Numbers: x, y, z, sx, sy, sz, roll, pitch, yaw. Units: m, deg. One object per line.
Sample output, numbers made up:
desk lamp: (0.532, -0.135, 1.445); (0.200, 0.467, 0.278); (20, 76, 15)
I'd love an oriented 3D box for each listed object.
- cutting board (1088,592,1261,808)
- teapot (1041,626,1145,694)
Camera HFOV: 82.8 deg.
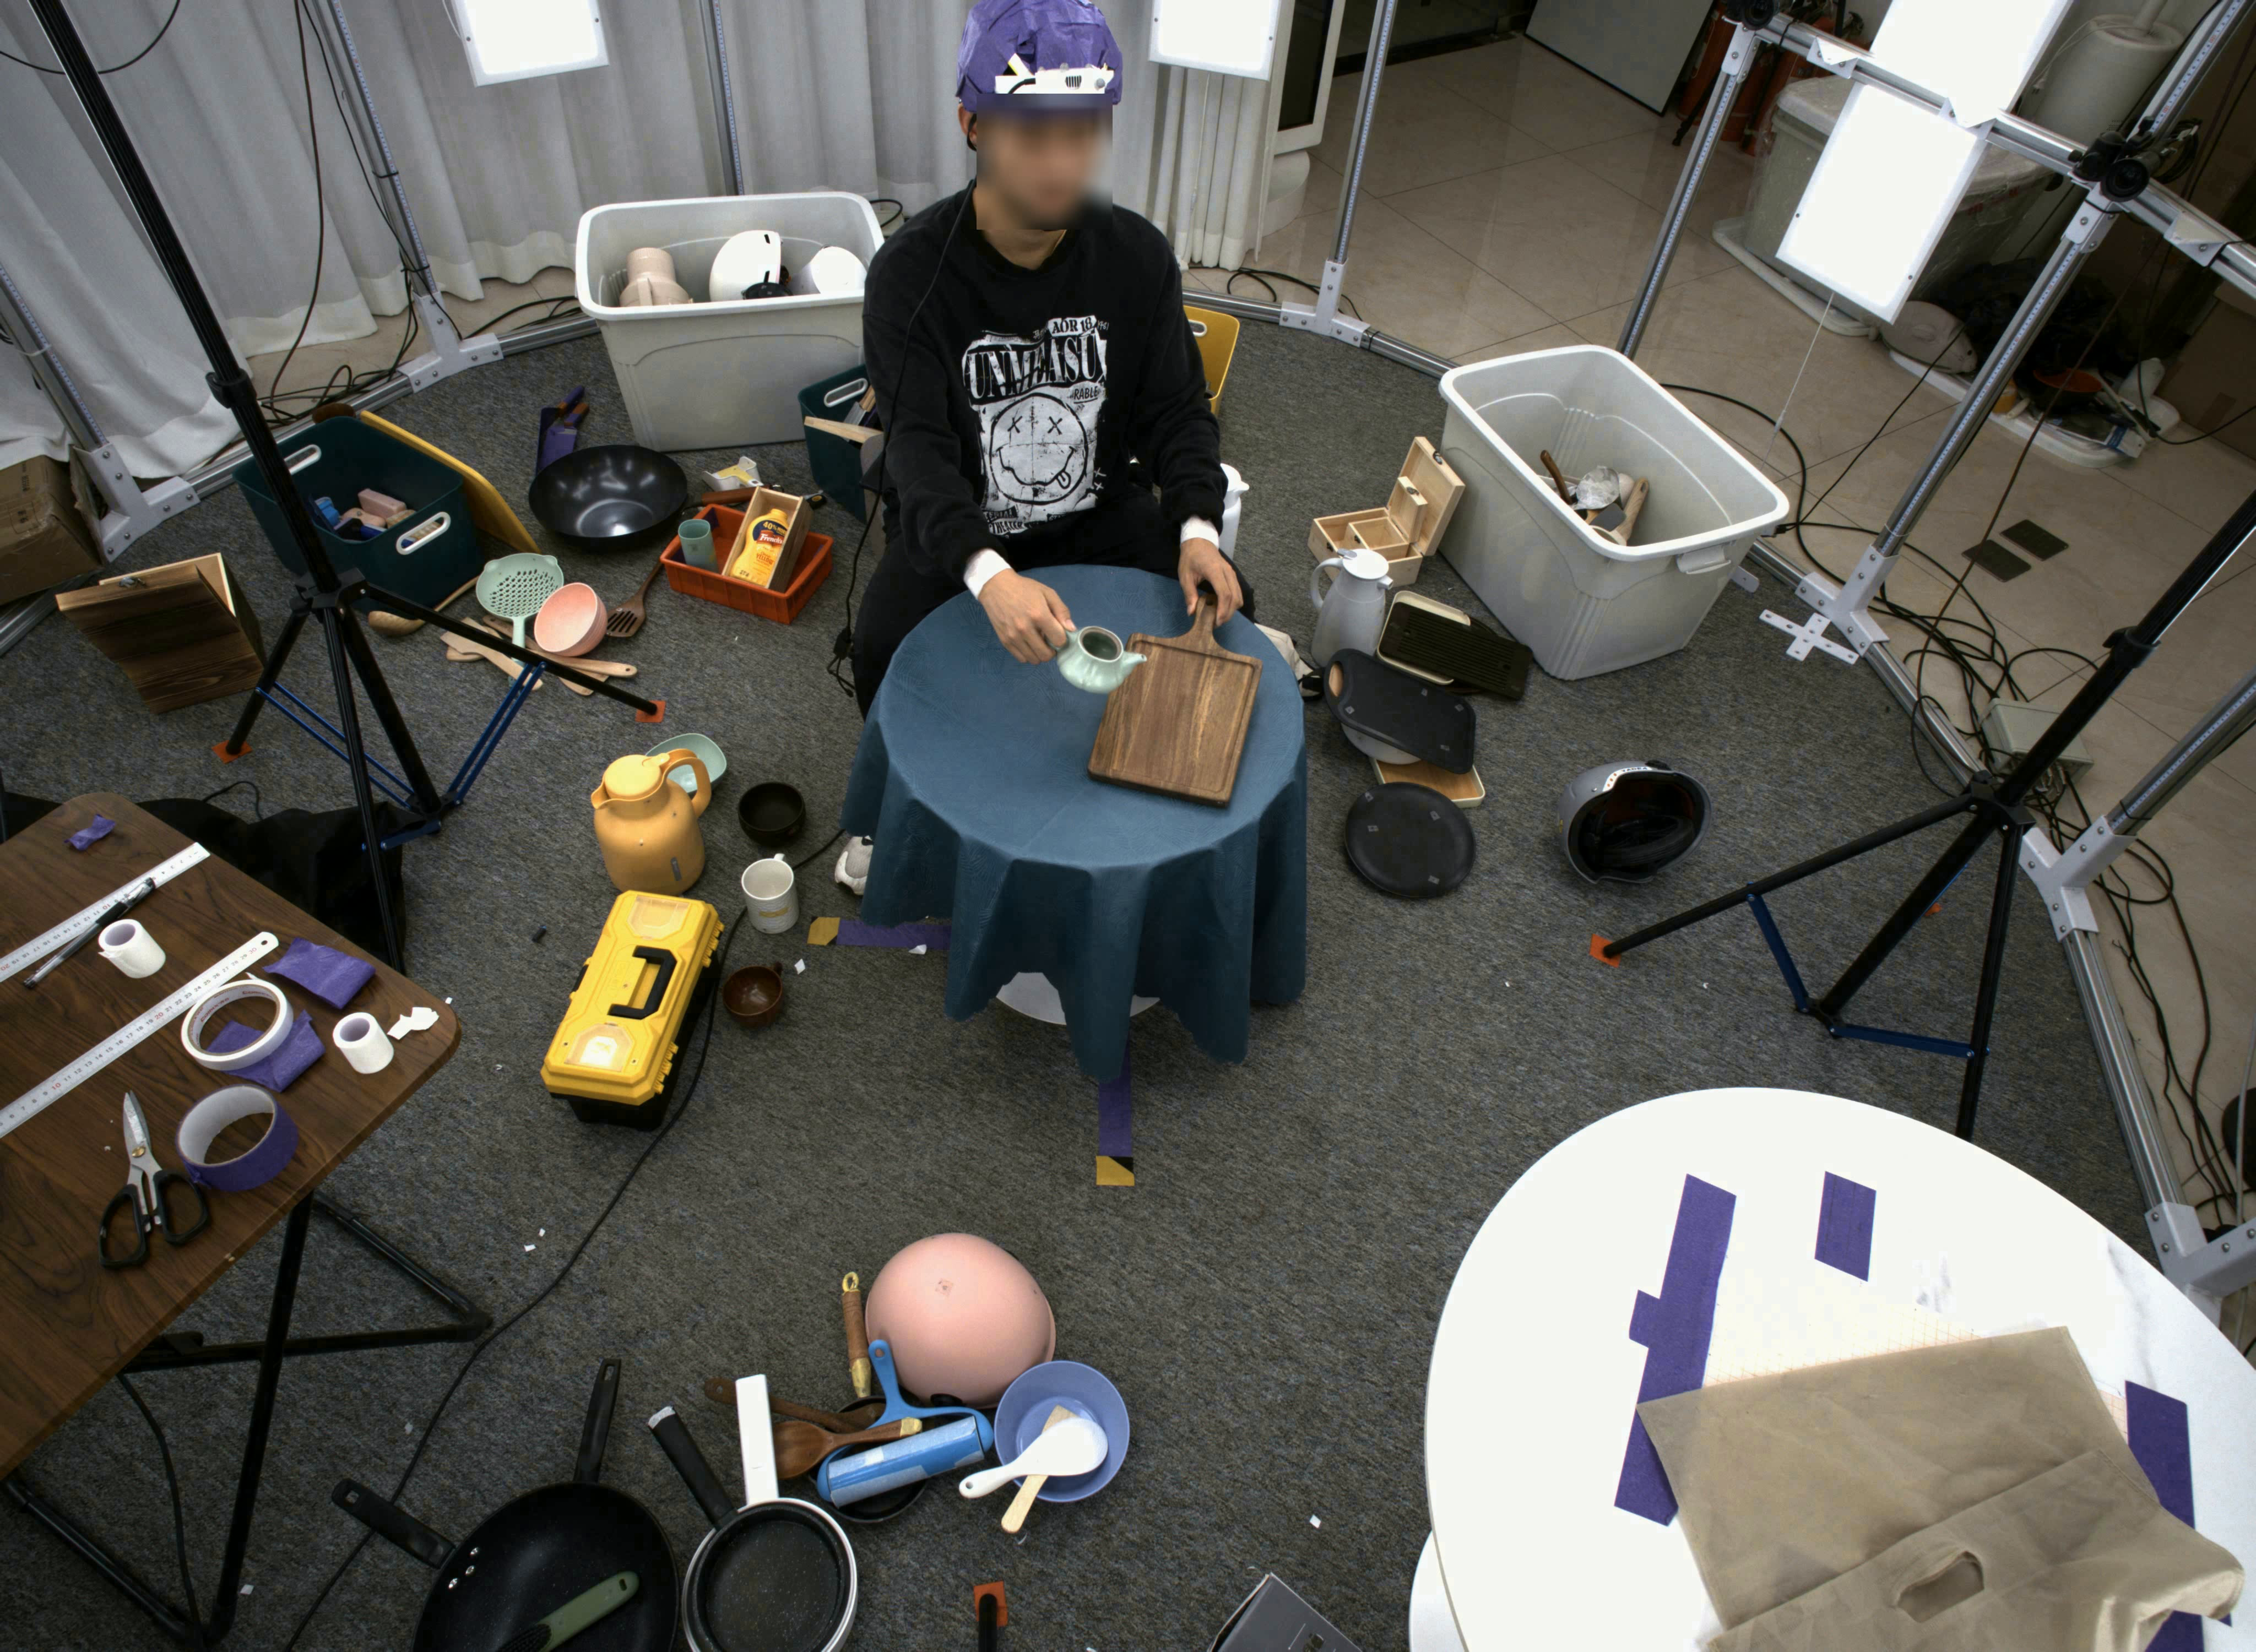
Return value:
cutting board: (0.079, -0.191, 1.793); (0.201, 0.023, 0.359); (12, 58, 7)
teapot: (-0.051, -0.223, 1.680); (0.136, 0.060, 0.098); (17, 50, -10)
